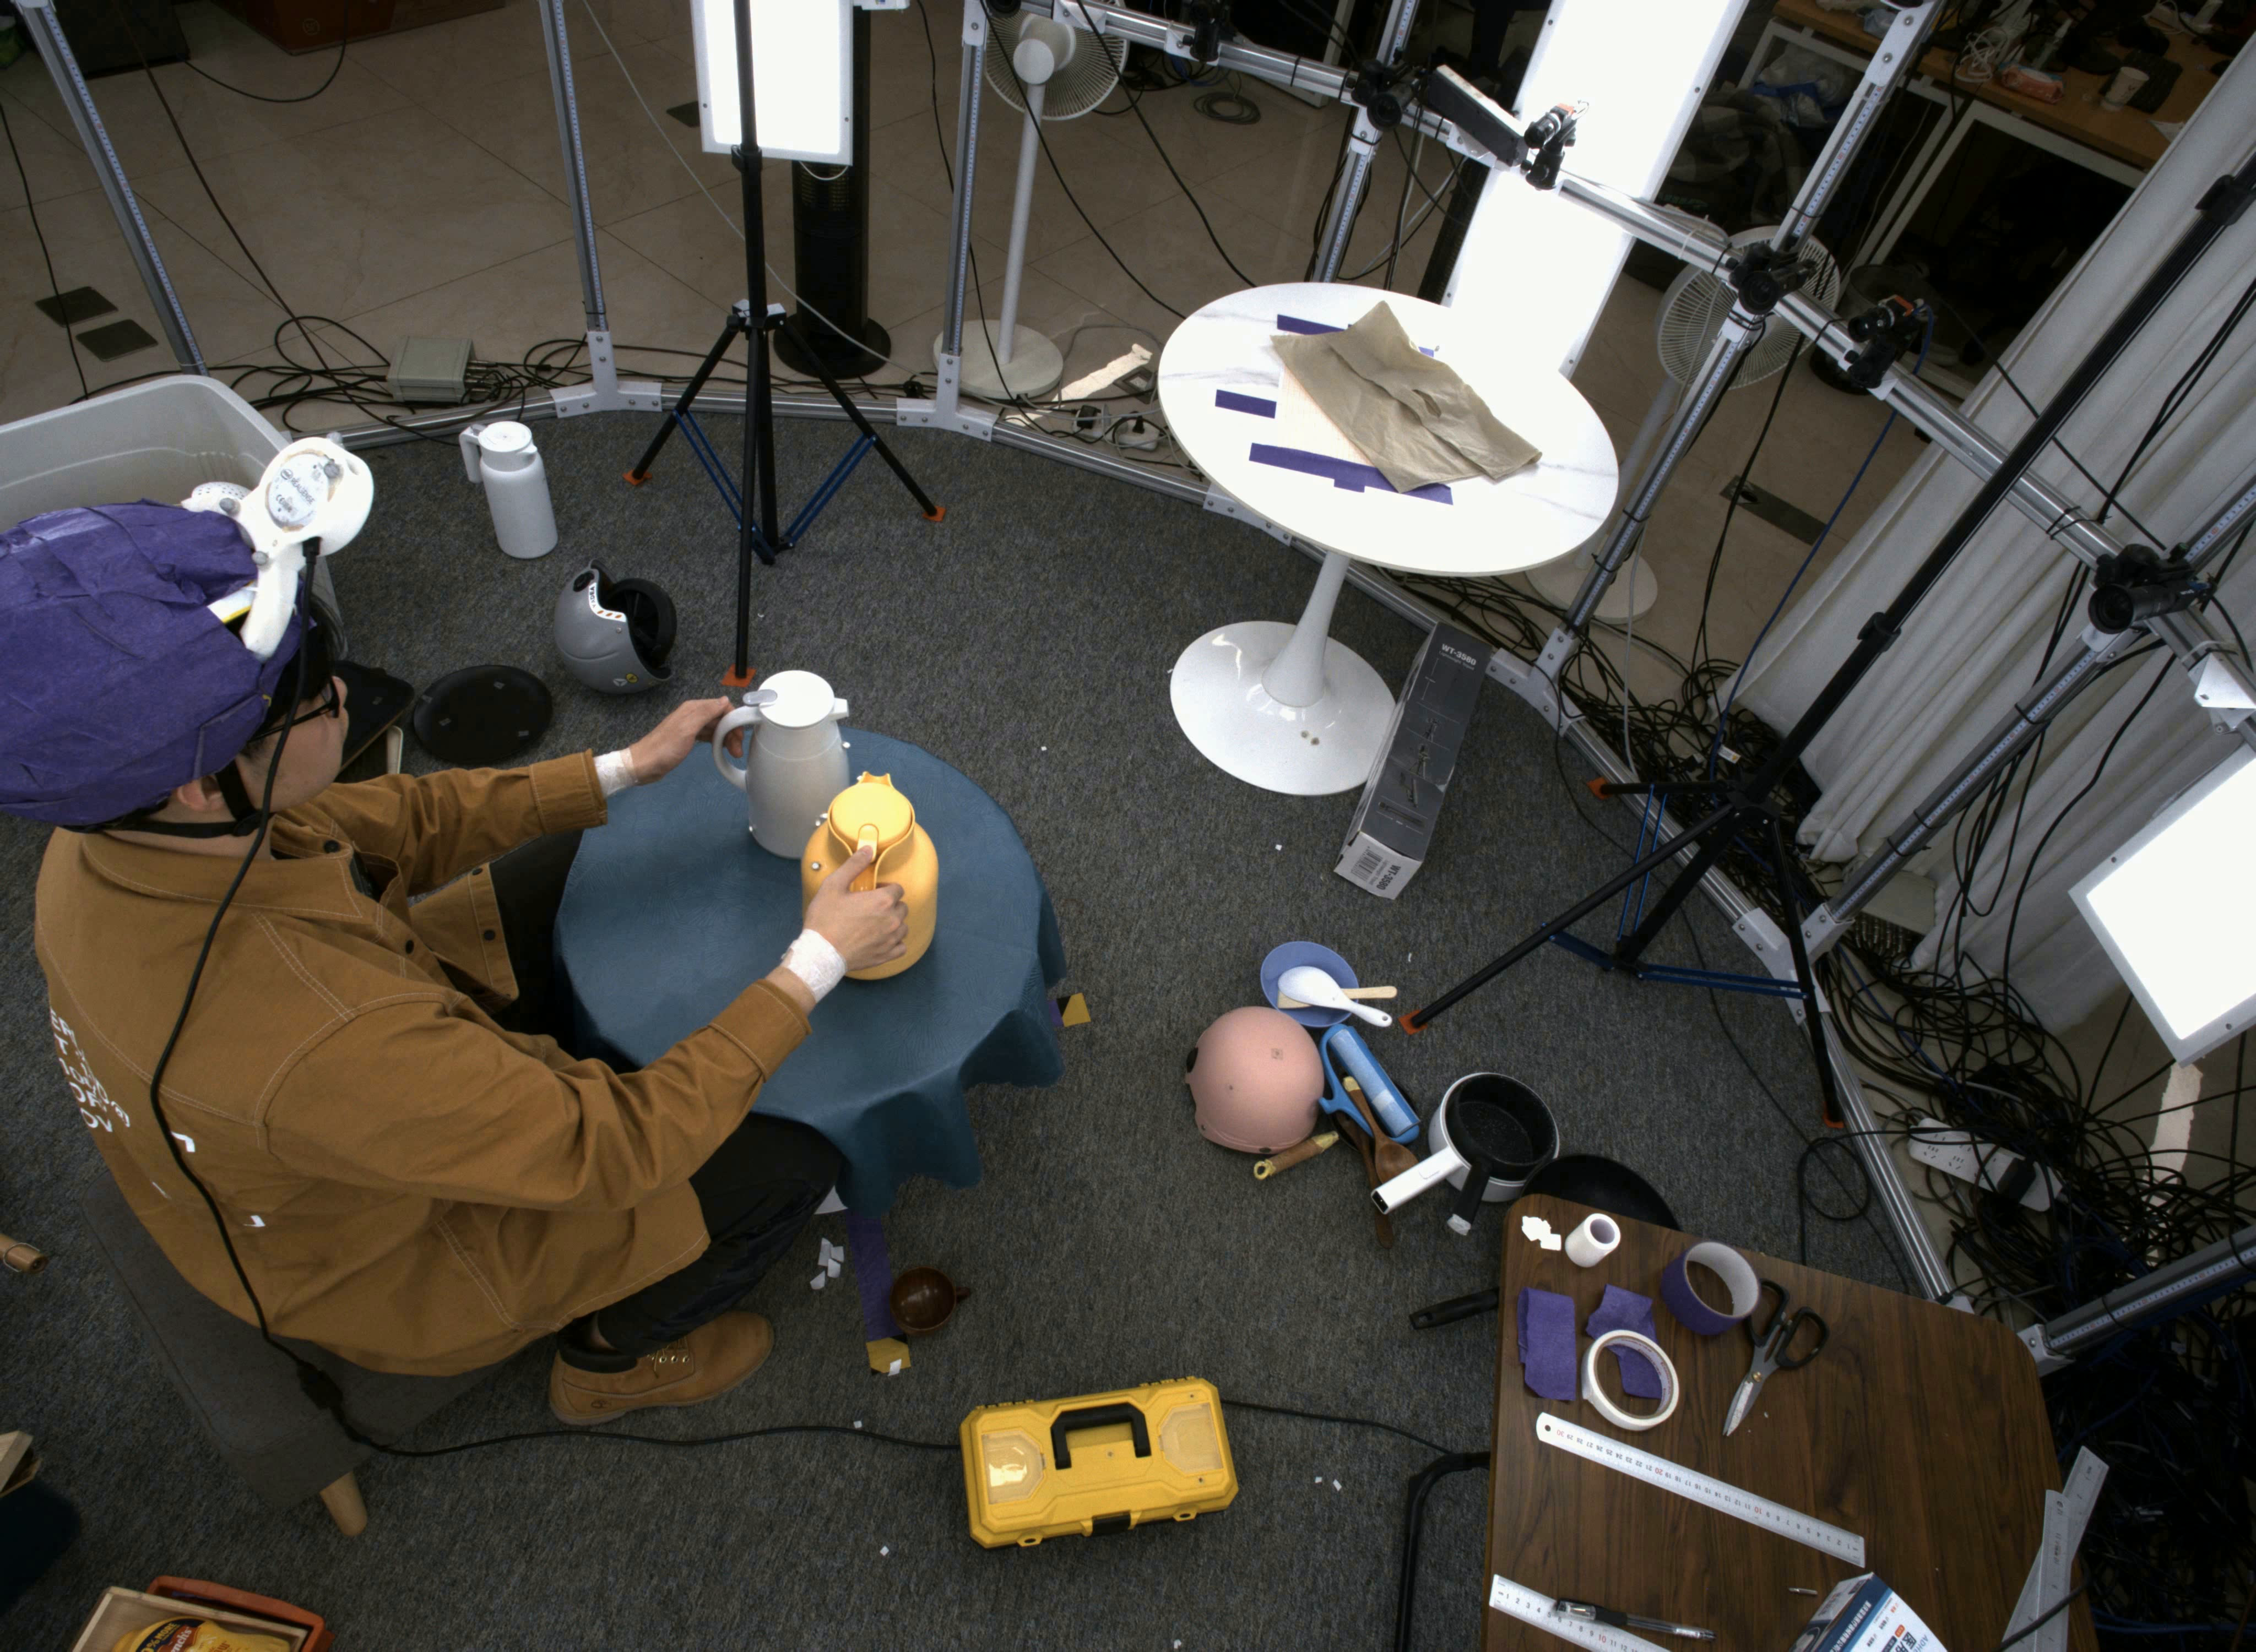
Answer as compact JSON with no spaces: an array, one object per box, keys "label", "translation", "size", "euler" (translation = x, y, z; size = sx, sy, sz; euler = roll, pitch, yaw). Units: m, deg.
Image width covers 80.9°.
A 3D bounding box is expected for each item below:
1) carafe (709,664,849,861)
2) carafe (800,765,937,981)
[{"label":"carafe","translation":[-0.435,-0.084,1.620],"size":[0.168,0.254,0.129],"euler":[-4,53,-14]},{"label":"carafe","translation":[-0.309,0.070,1.531],"size":[0.163,0.267,0.198],"euler":[5,51,-6]}]
